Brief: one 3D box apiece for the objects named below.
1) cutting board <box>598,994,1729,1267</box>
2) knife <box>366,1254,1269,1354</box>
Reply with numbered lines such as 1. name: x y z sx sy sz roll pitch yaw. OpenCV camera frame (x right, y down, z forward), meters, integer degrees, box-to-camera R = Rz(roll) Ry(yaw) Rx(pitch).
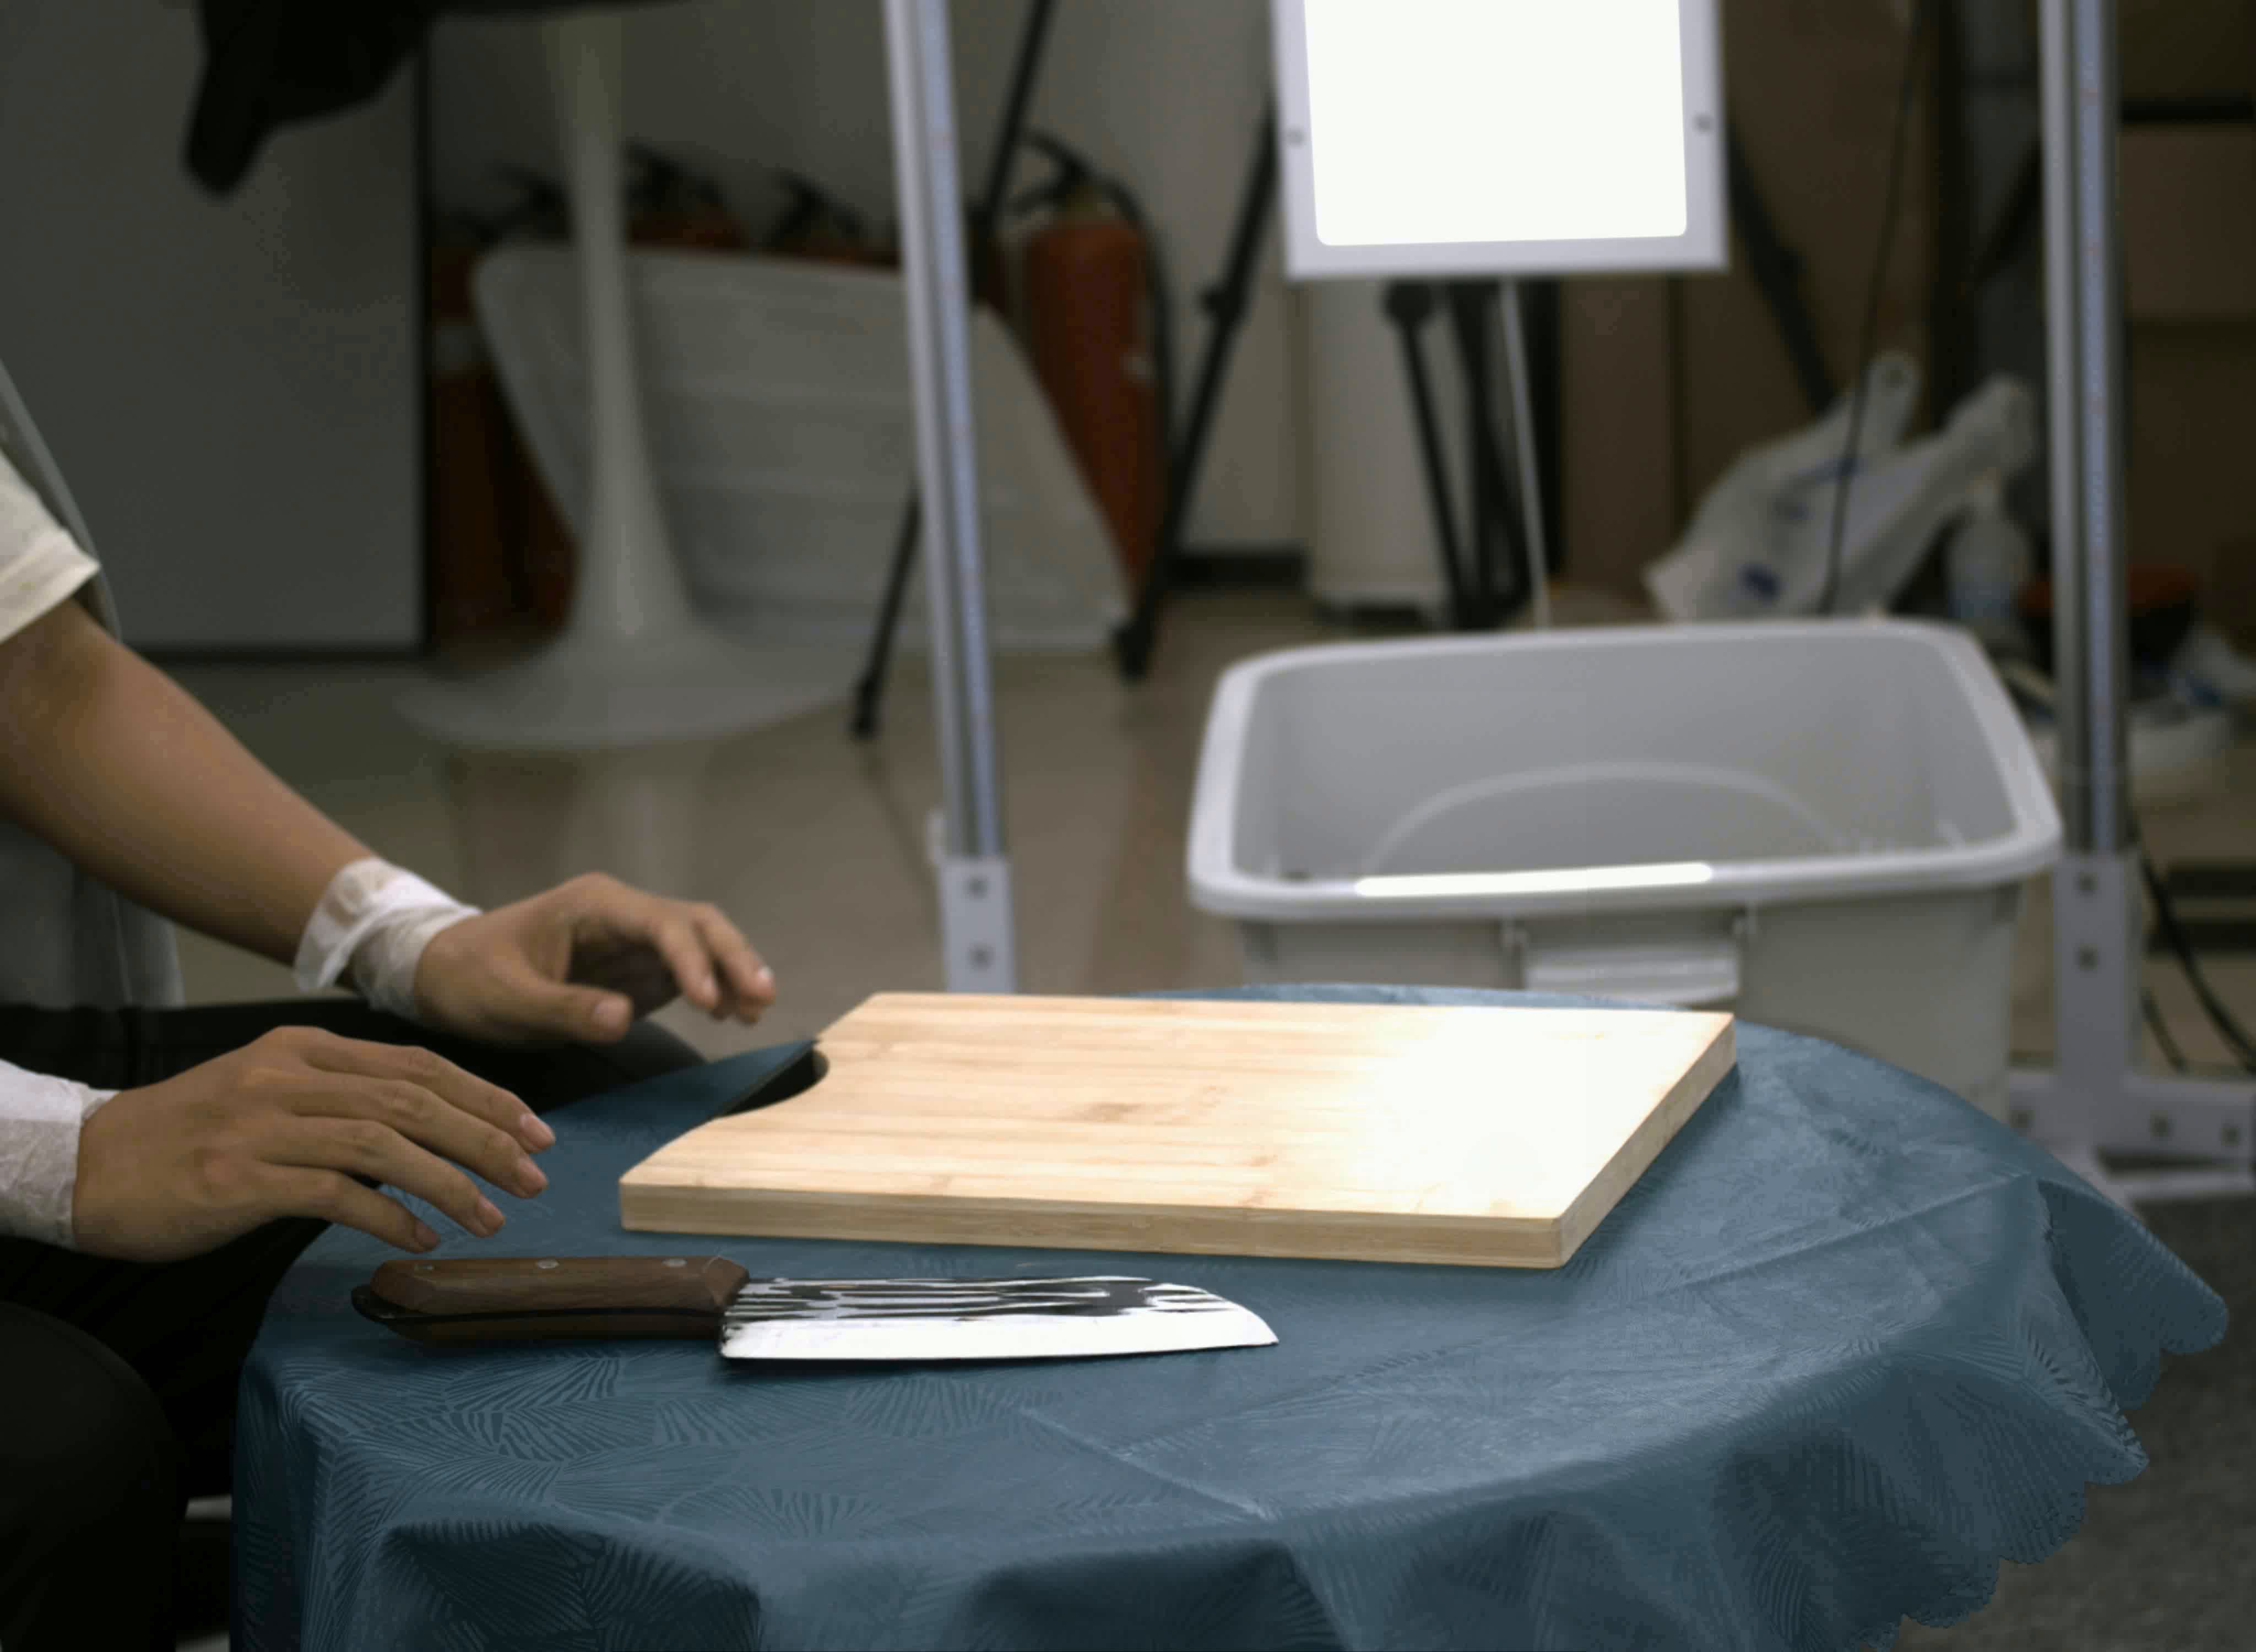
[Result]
1. cutting board: 0.017 0.104 1.948 0.353 0.023 0.246 0 14 21
2. knife: -0.102 0.157 1.769 0.300 0.024 0.067 0 16 7
